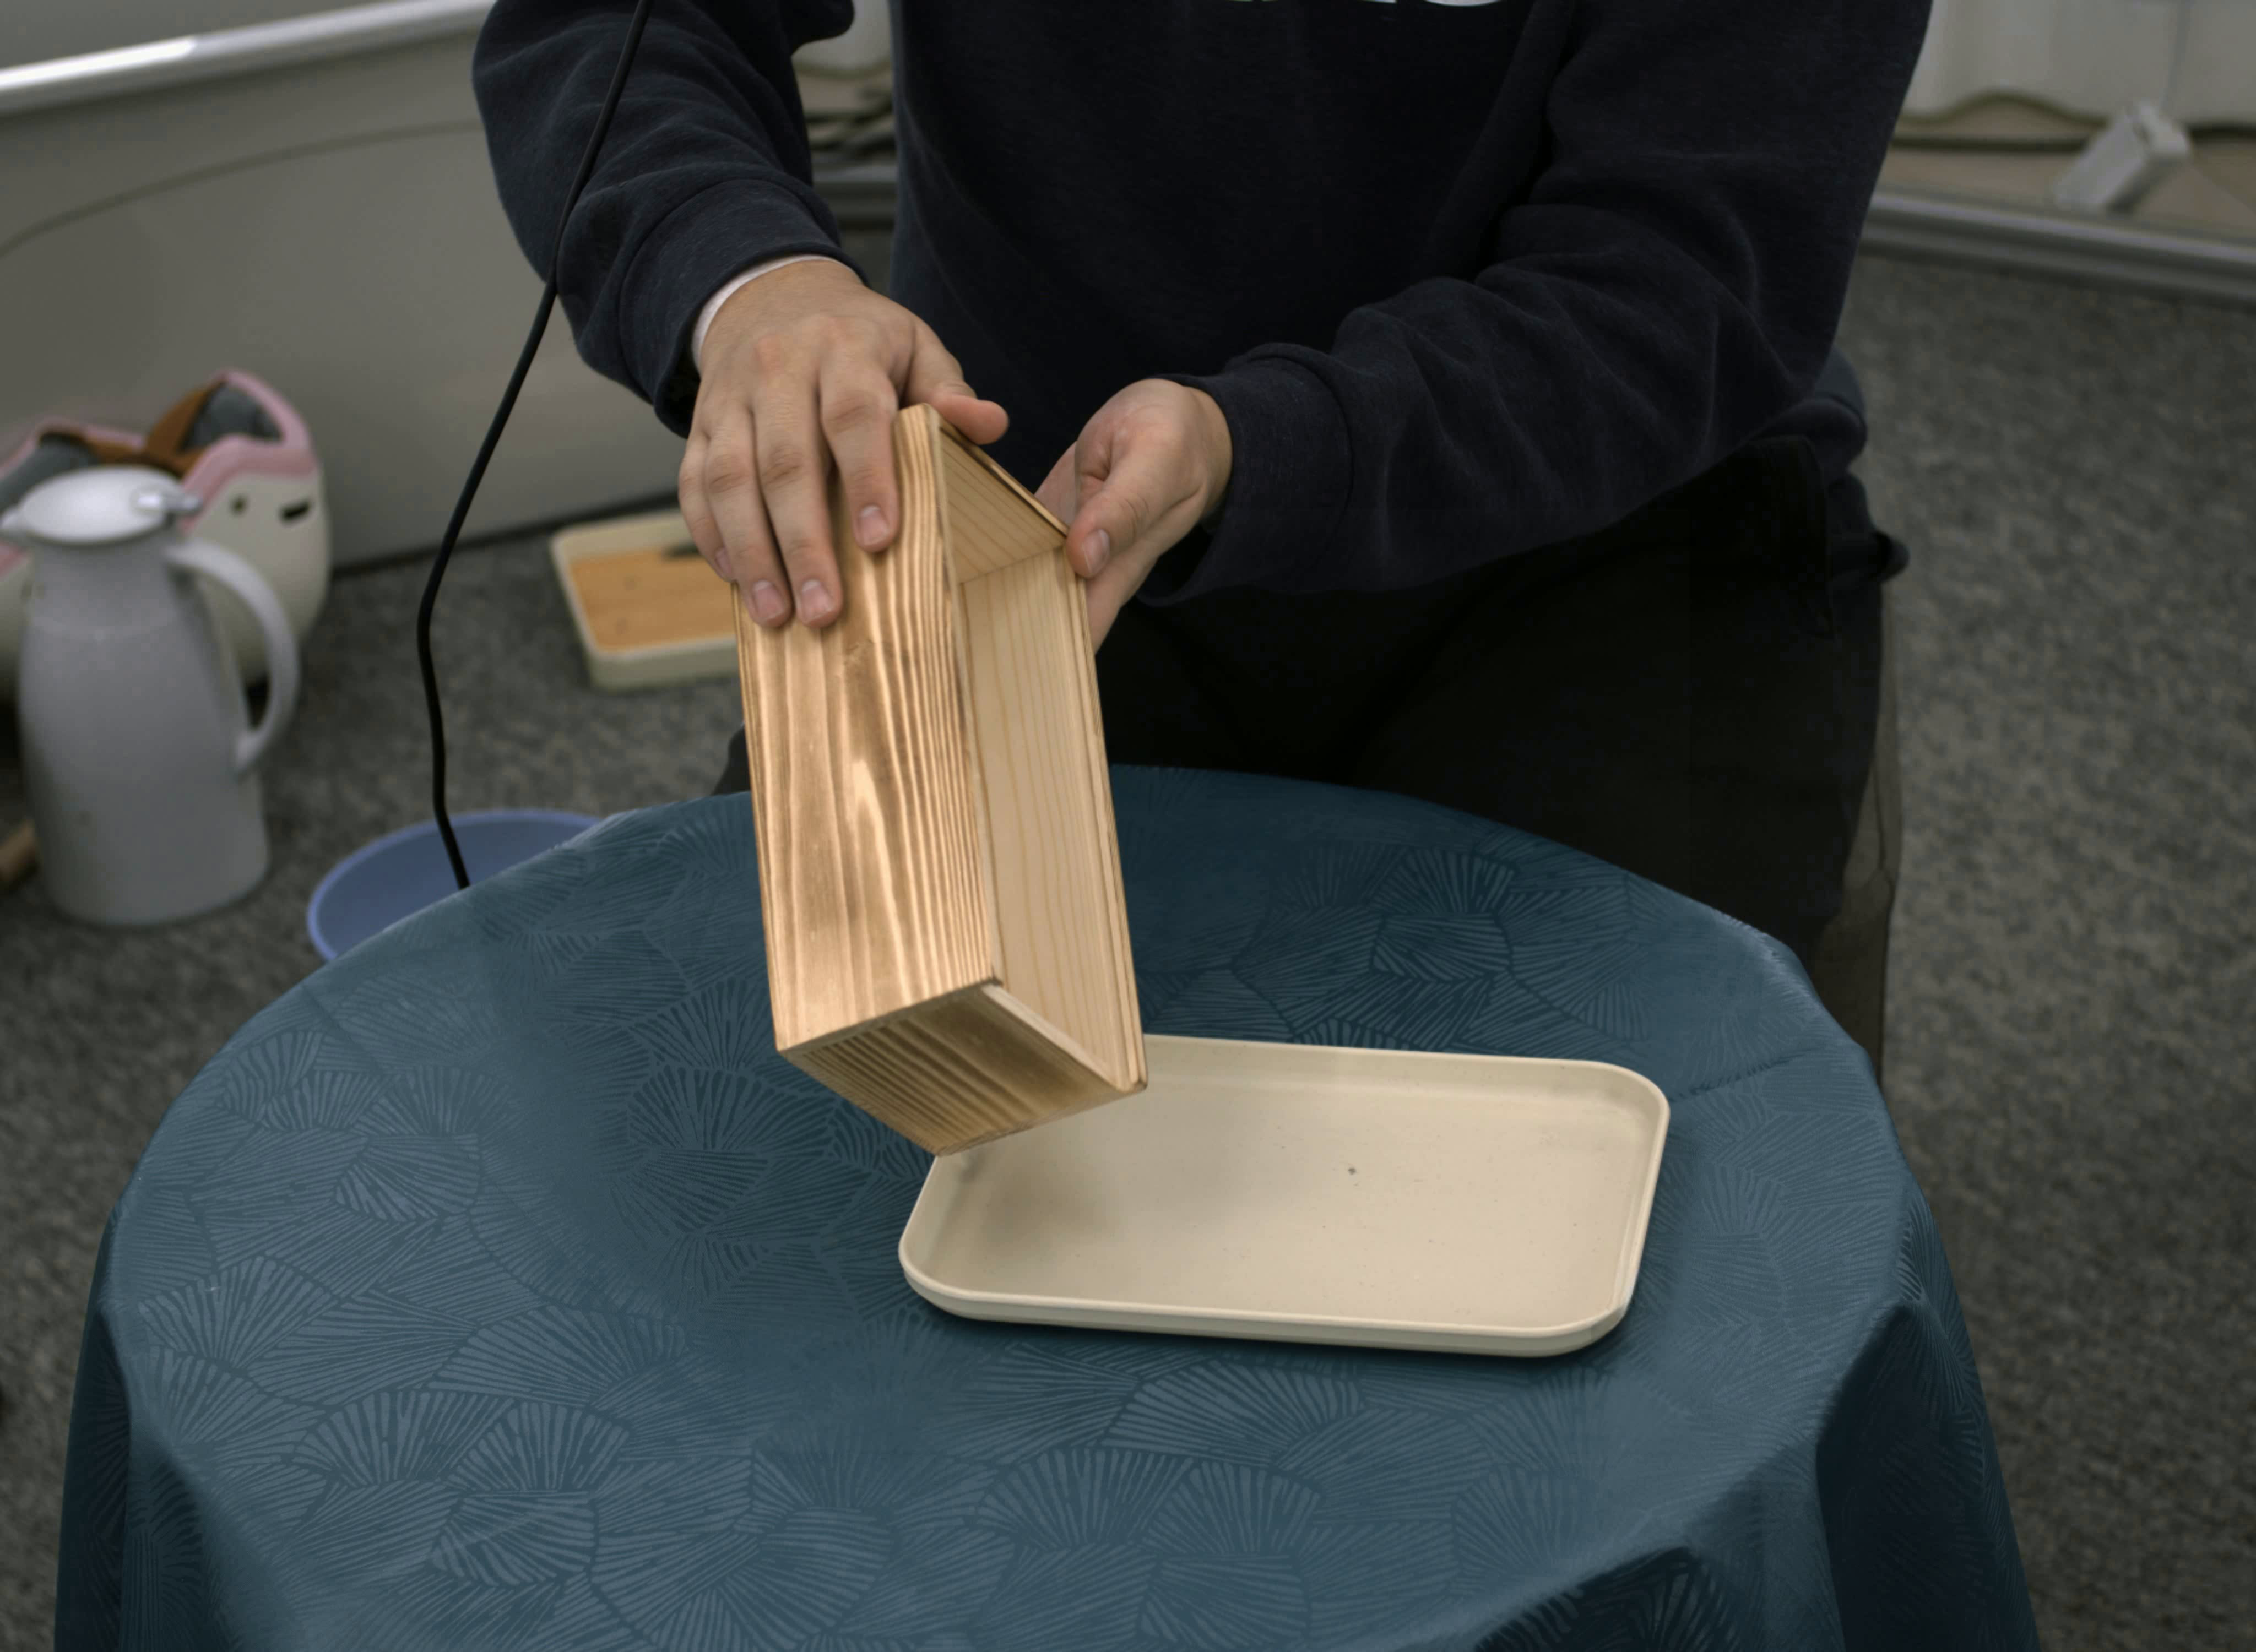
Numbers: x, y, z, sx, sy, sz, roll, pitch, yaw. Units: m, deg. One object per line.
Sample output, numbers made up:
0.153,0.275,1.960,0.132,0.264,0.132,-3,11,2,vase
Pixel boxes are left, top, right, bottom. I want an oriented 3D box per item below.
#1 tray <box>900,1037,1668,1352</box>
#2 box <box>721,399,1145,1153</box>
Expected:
0.053,0.121,1.843,0.238,0.017,0.174,3,27,10,tray
-0.064,-0.016,1.832,0.079,0.107,0.215,-20,59,21,box
